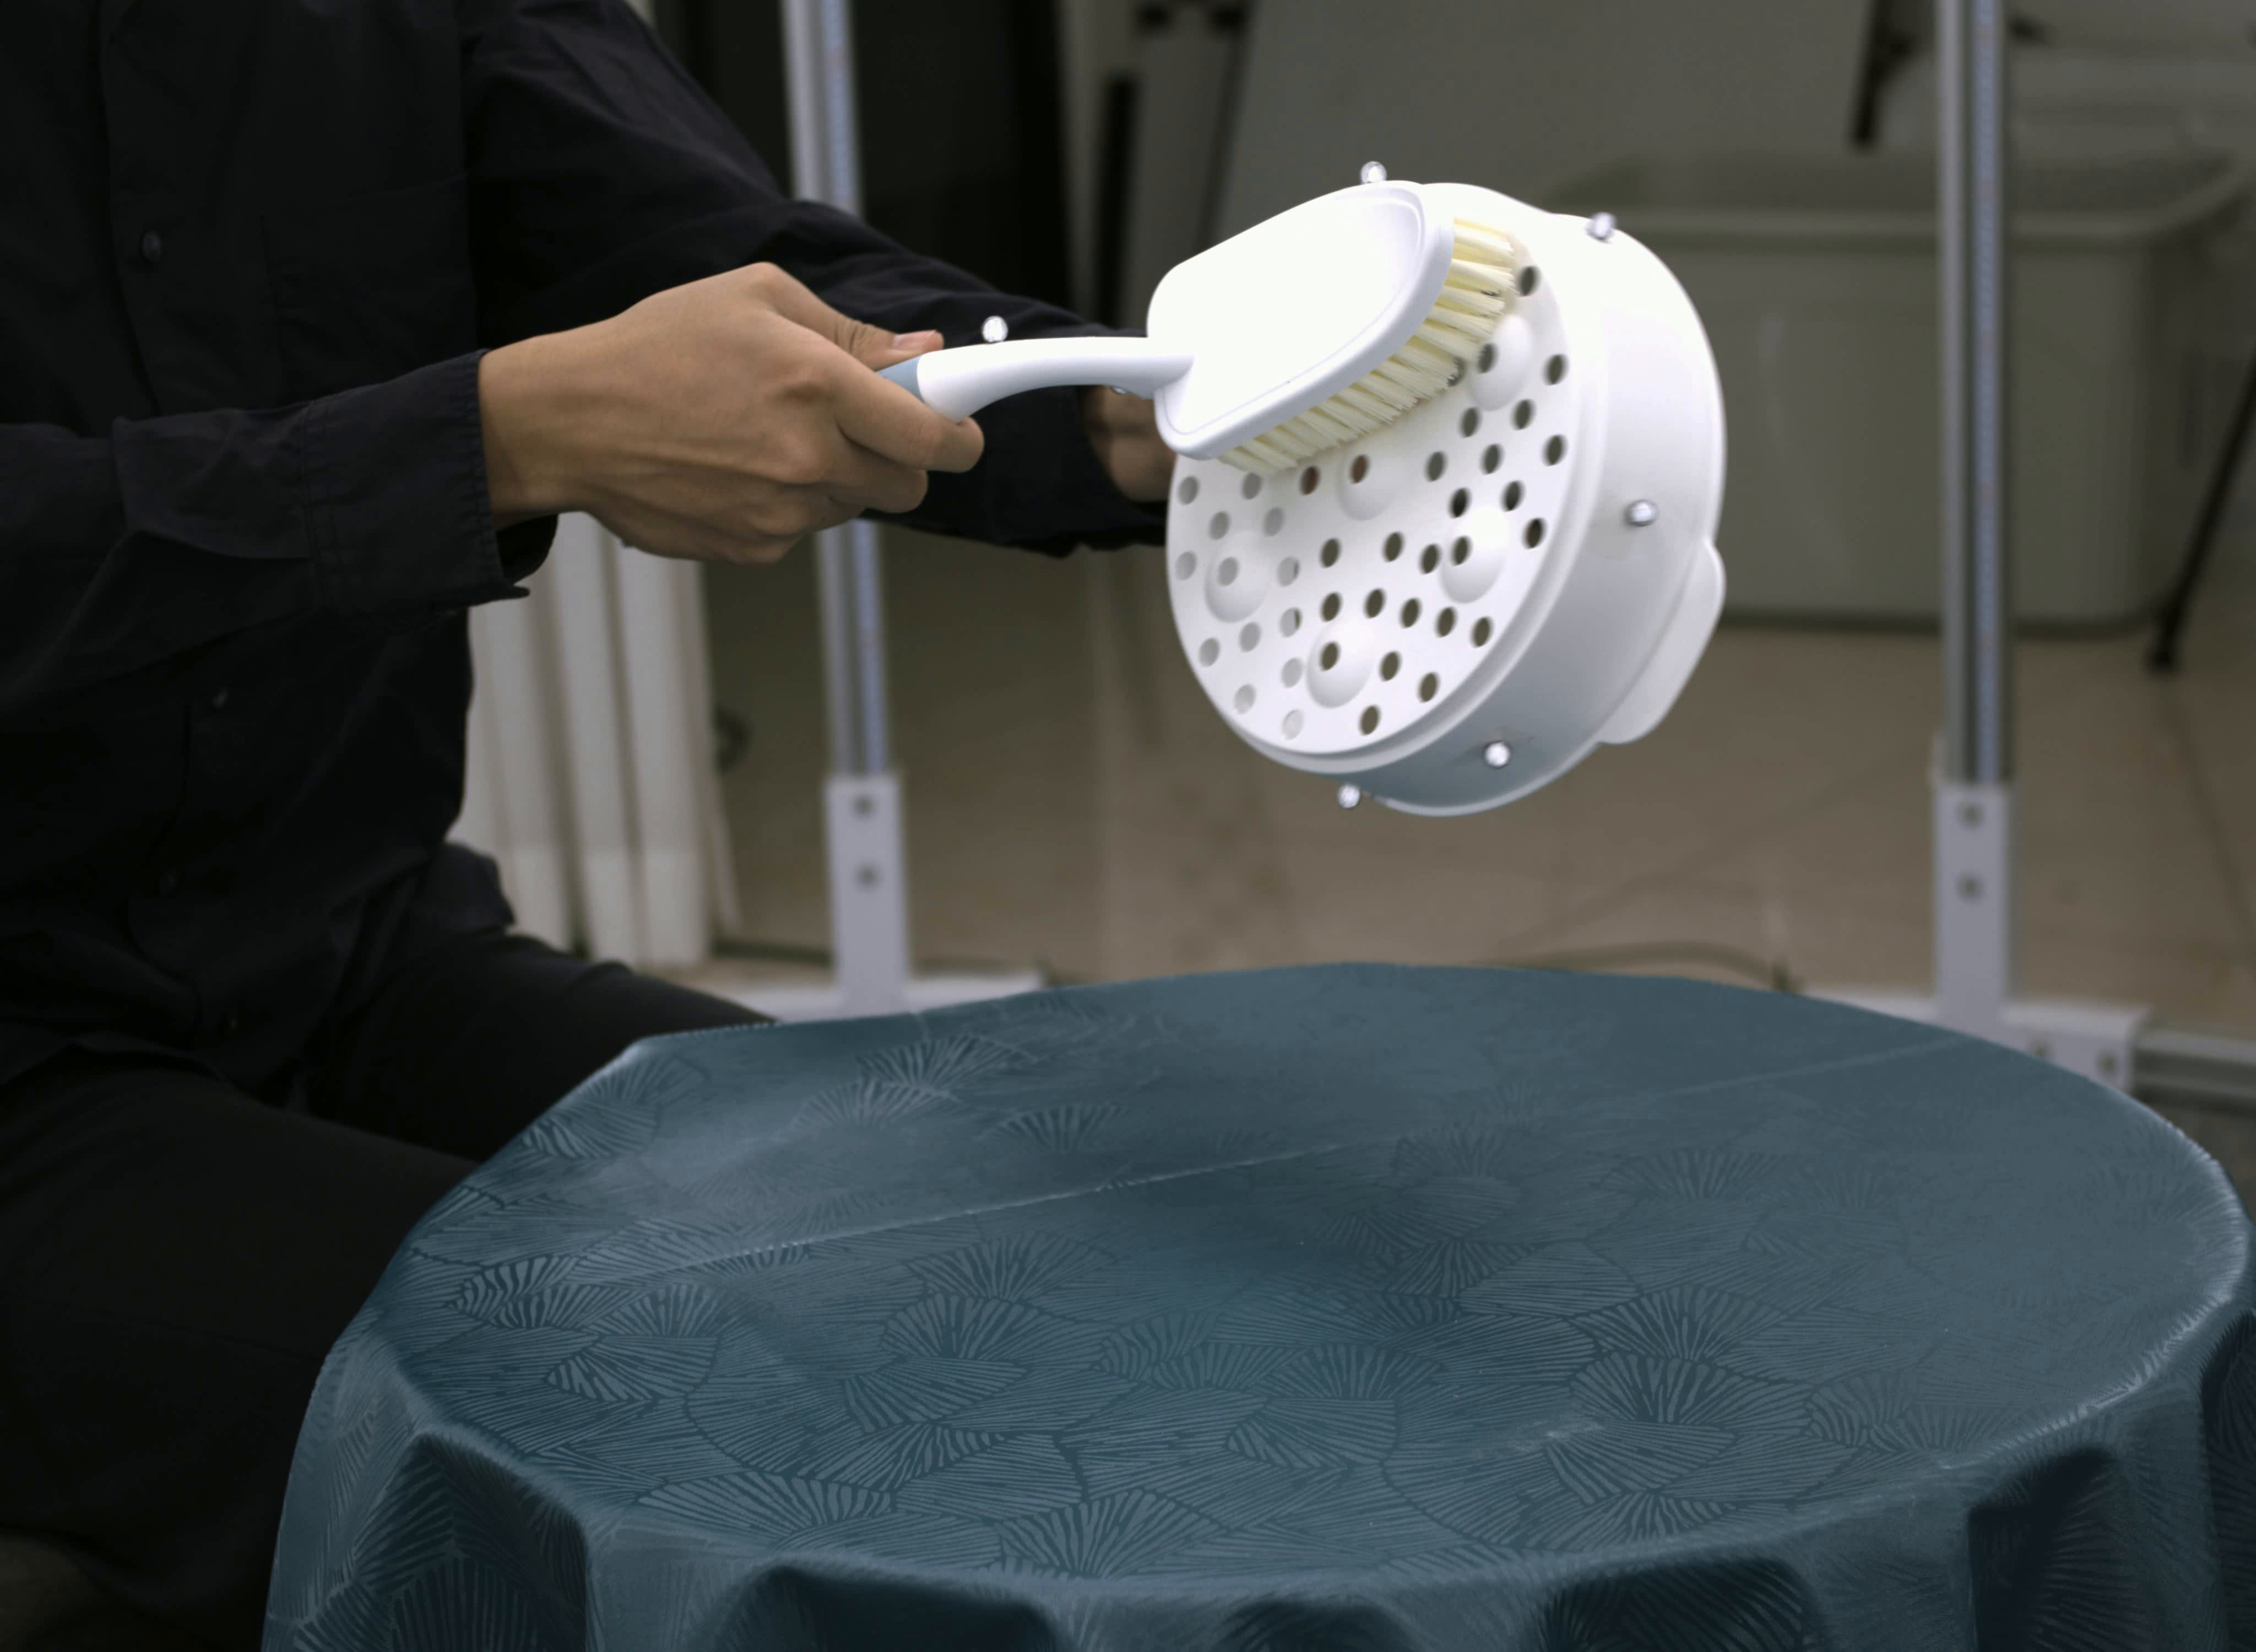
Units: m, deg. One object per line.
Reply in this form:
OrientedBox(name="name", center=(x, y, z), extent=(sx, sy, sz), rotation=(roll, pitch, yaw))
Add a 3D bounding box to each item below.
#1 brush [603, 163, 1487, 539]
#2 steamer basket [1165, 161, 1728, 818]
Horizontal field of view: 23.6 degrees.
OrientedBox(name="brush", center=(-0.024, -0.142, 1.740), extent=(0.326, 0.084, 0.083), rotation=(-18, 29, 29))
OrientedBox(name="steamer basket", center=(0.095, -0.108, 1.711), extent=(0.068, 0.204, 0.233), rotation=(16, 17, -40))
